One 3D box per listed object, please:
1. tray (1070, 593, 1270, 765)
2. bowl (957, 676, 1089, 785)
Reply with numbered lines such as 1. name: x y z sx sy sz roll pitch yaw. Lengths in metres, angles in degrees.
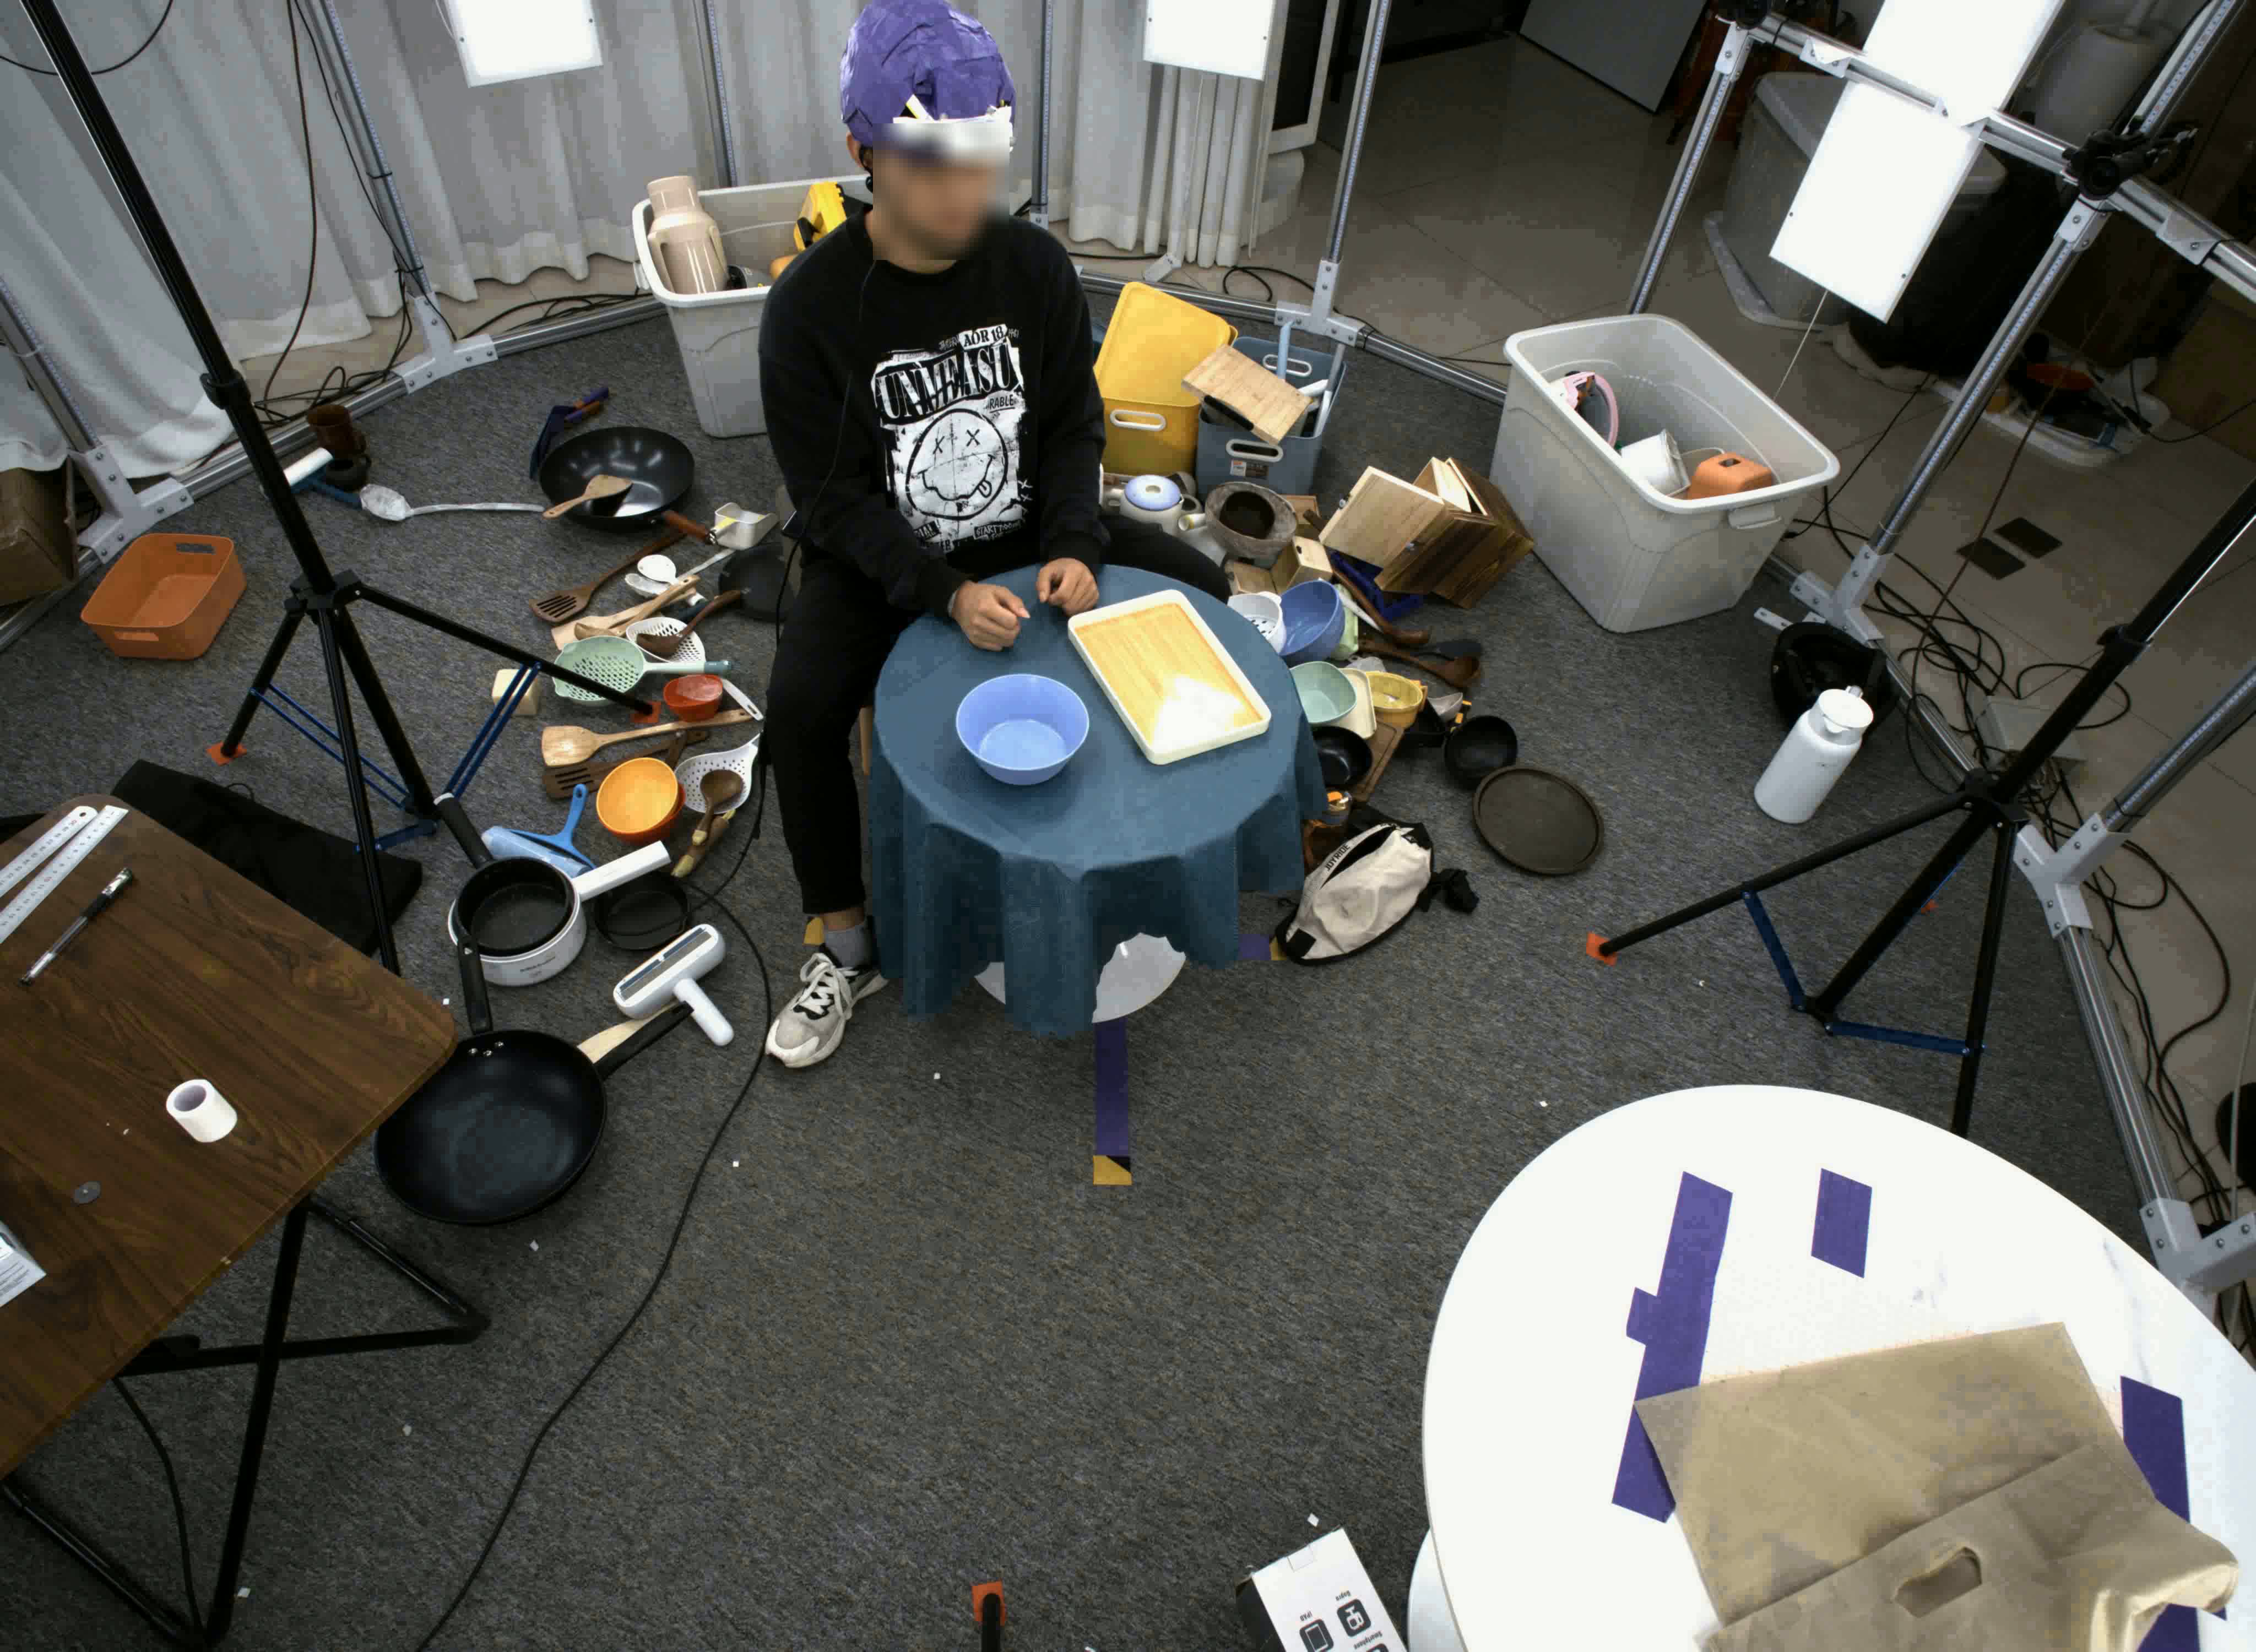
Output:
1. tray: 0.057 -0.219 1.862 0.192 0.027 0.307 -18 52 -18
2. bowl: -0.142 -0.120 1.732 0.176 0.068 0.180 2 49 -3
